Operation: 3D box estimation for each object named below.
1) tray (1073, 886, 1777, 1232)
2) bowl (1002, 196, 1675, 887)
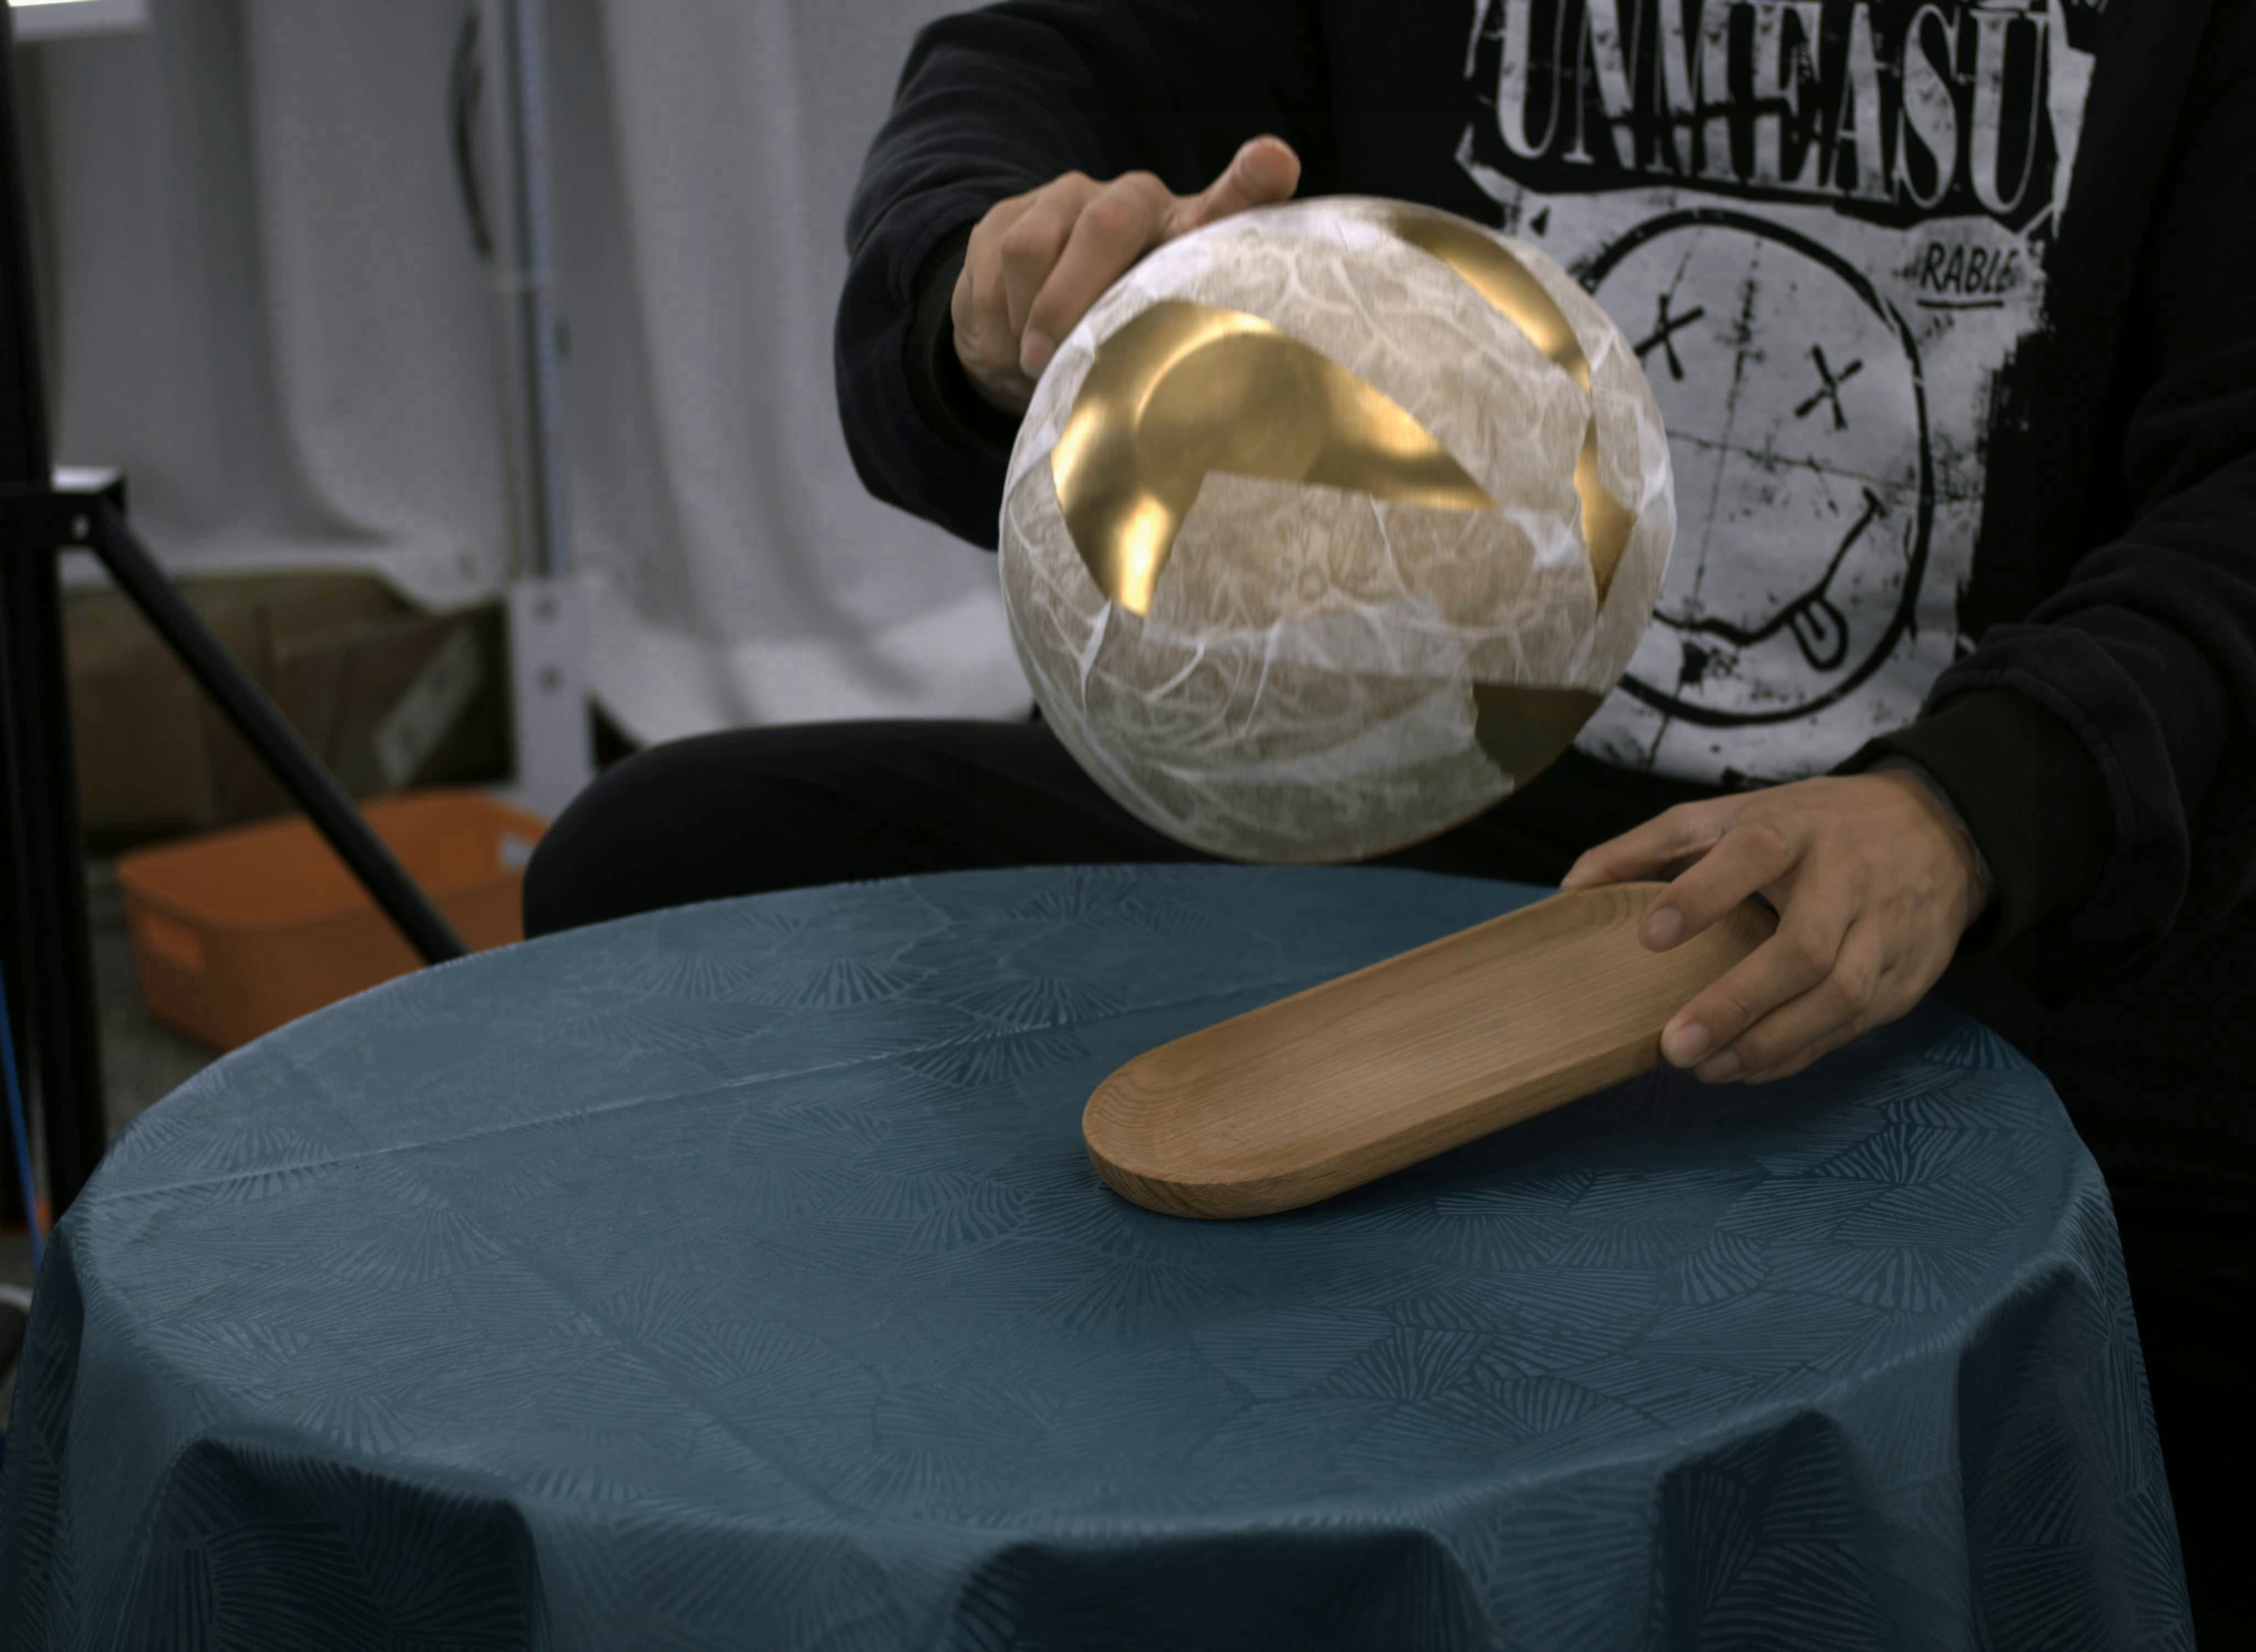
[{"bbox_3d":[0.091,0.069,1.588,0.227,0.020,0.104,-22,24,-20],"label":"tray"},{"bbox_3d":[0.044,-0.091,1.516,0.218,0.216,0.092,6,-15,27],"label":"bowl"}]
